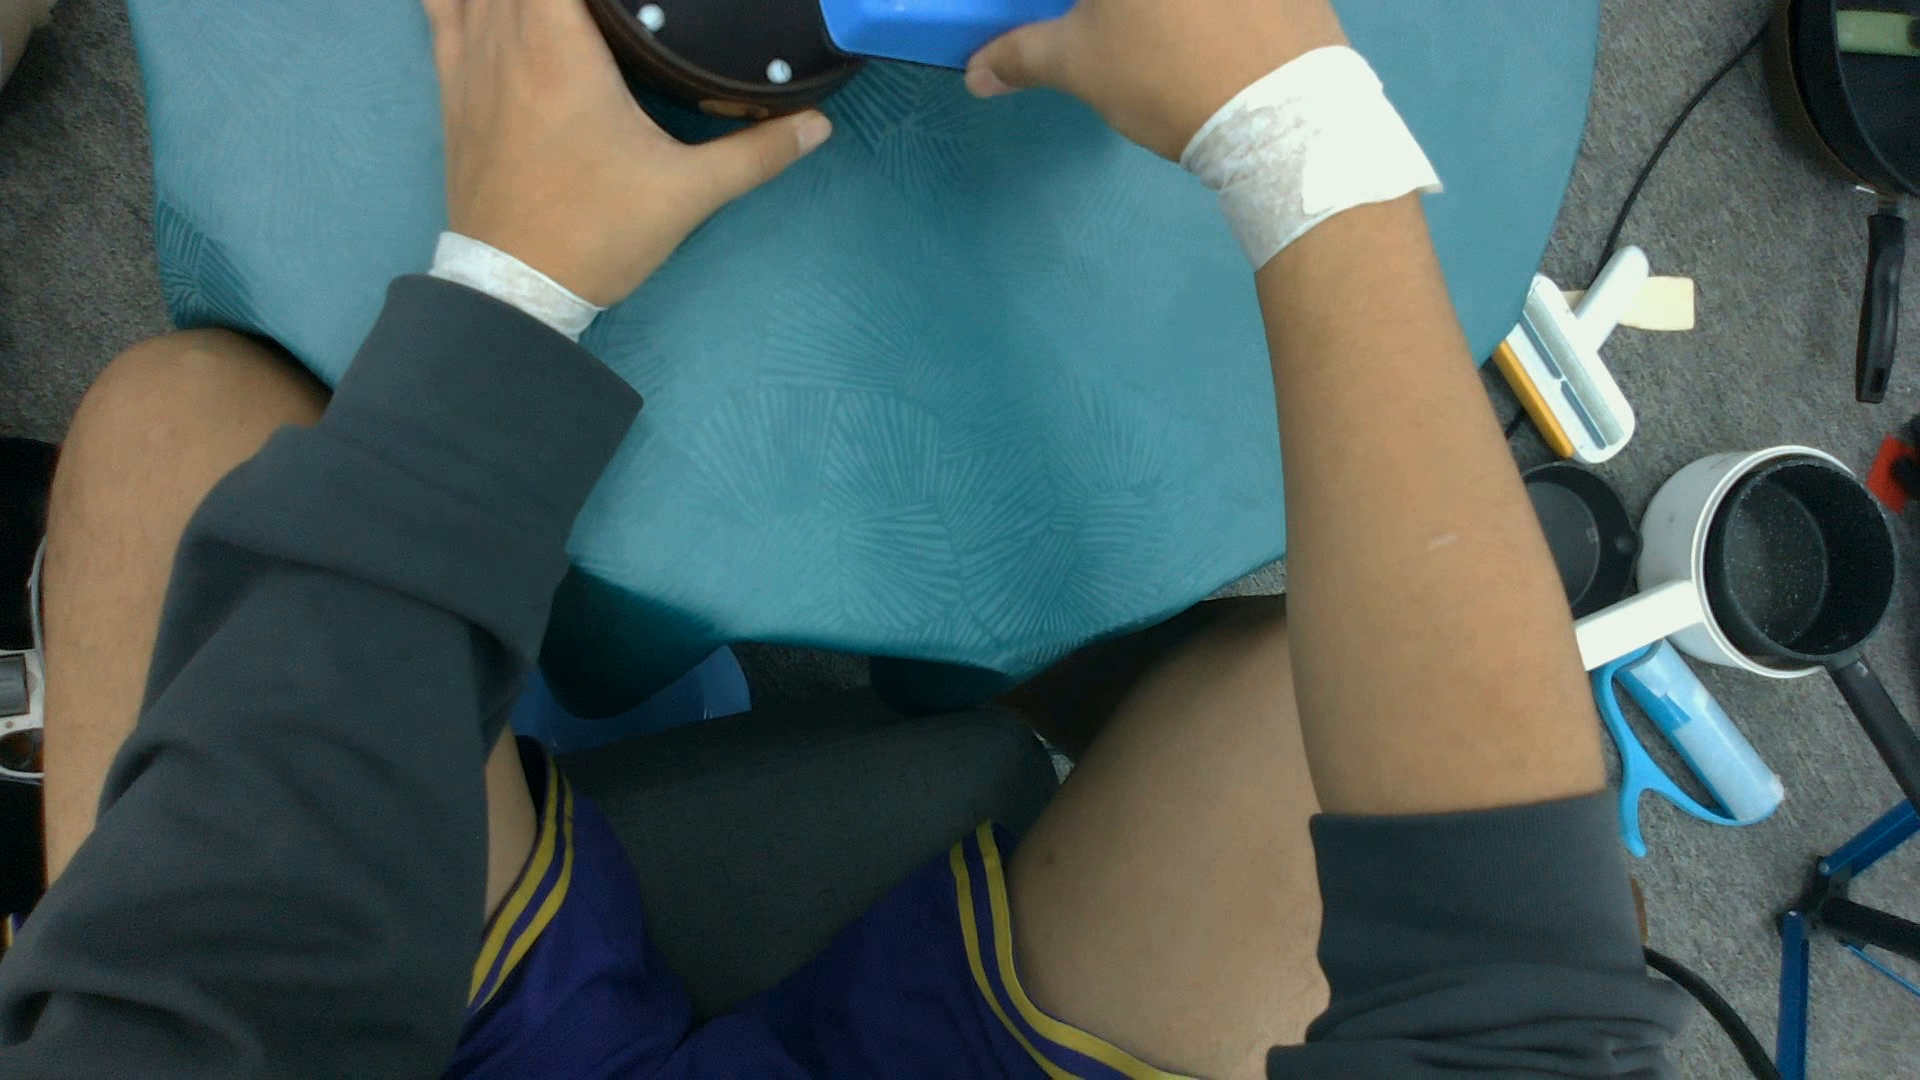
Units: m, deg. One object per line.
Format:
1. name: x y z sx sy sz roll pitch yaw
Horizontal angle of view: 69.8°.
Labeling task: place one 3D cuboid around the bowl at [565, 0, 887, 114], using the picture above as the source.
1. bowl: -0.087 -0.209 0.487 0.118 0.070 0.118 0 90 -23

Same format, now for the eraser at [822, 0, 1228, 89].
1. eraser: 0.028 -0.198 0.477 0.162 0.047 0.054 -4 83 -34
